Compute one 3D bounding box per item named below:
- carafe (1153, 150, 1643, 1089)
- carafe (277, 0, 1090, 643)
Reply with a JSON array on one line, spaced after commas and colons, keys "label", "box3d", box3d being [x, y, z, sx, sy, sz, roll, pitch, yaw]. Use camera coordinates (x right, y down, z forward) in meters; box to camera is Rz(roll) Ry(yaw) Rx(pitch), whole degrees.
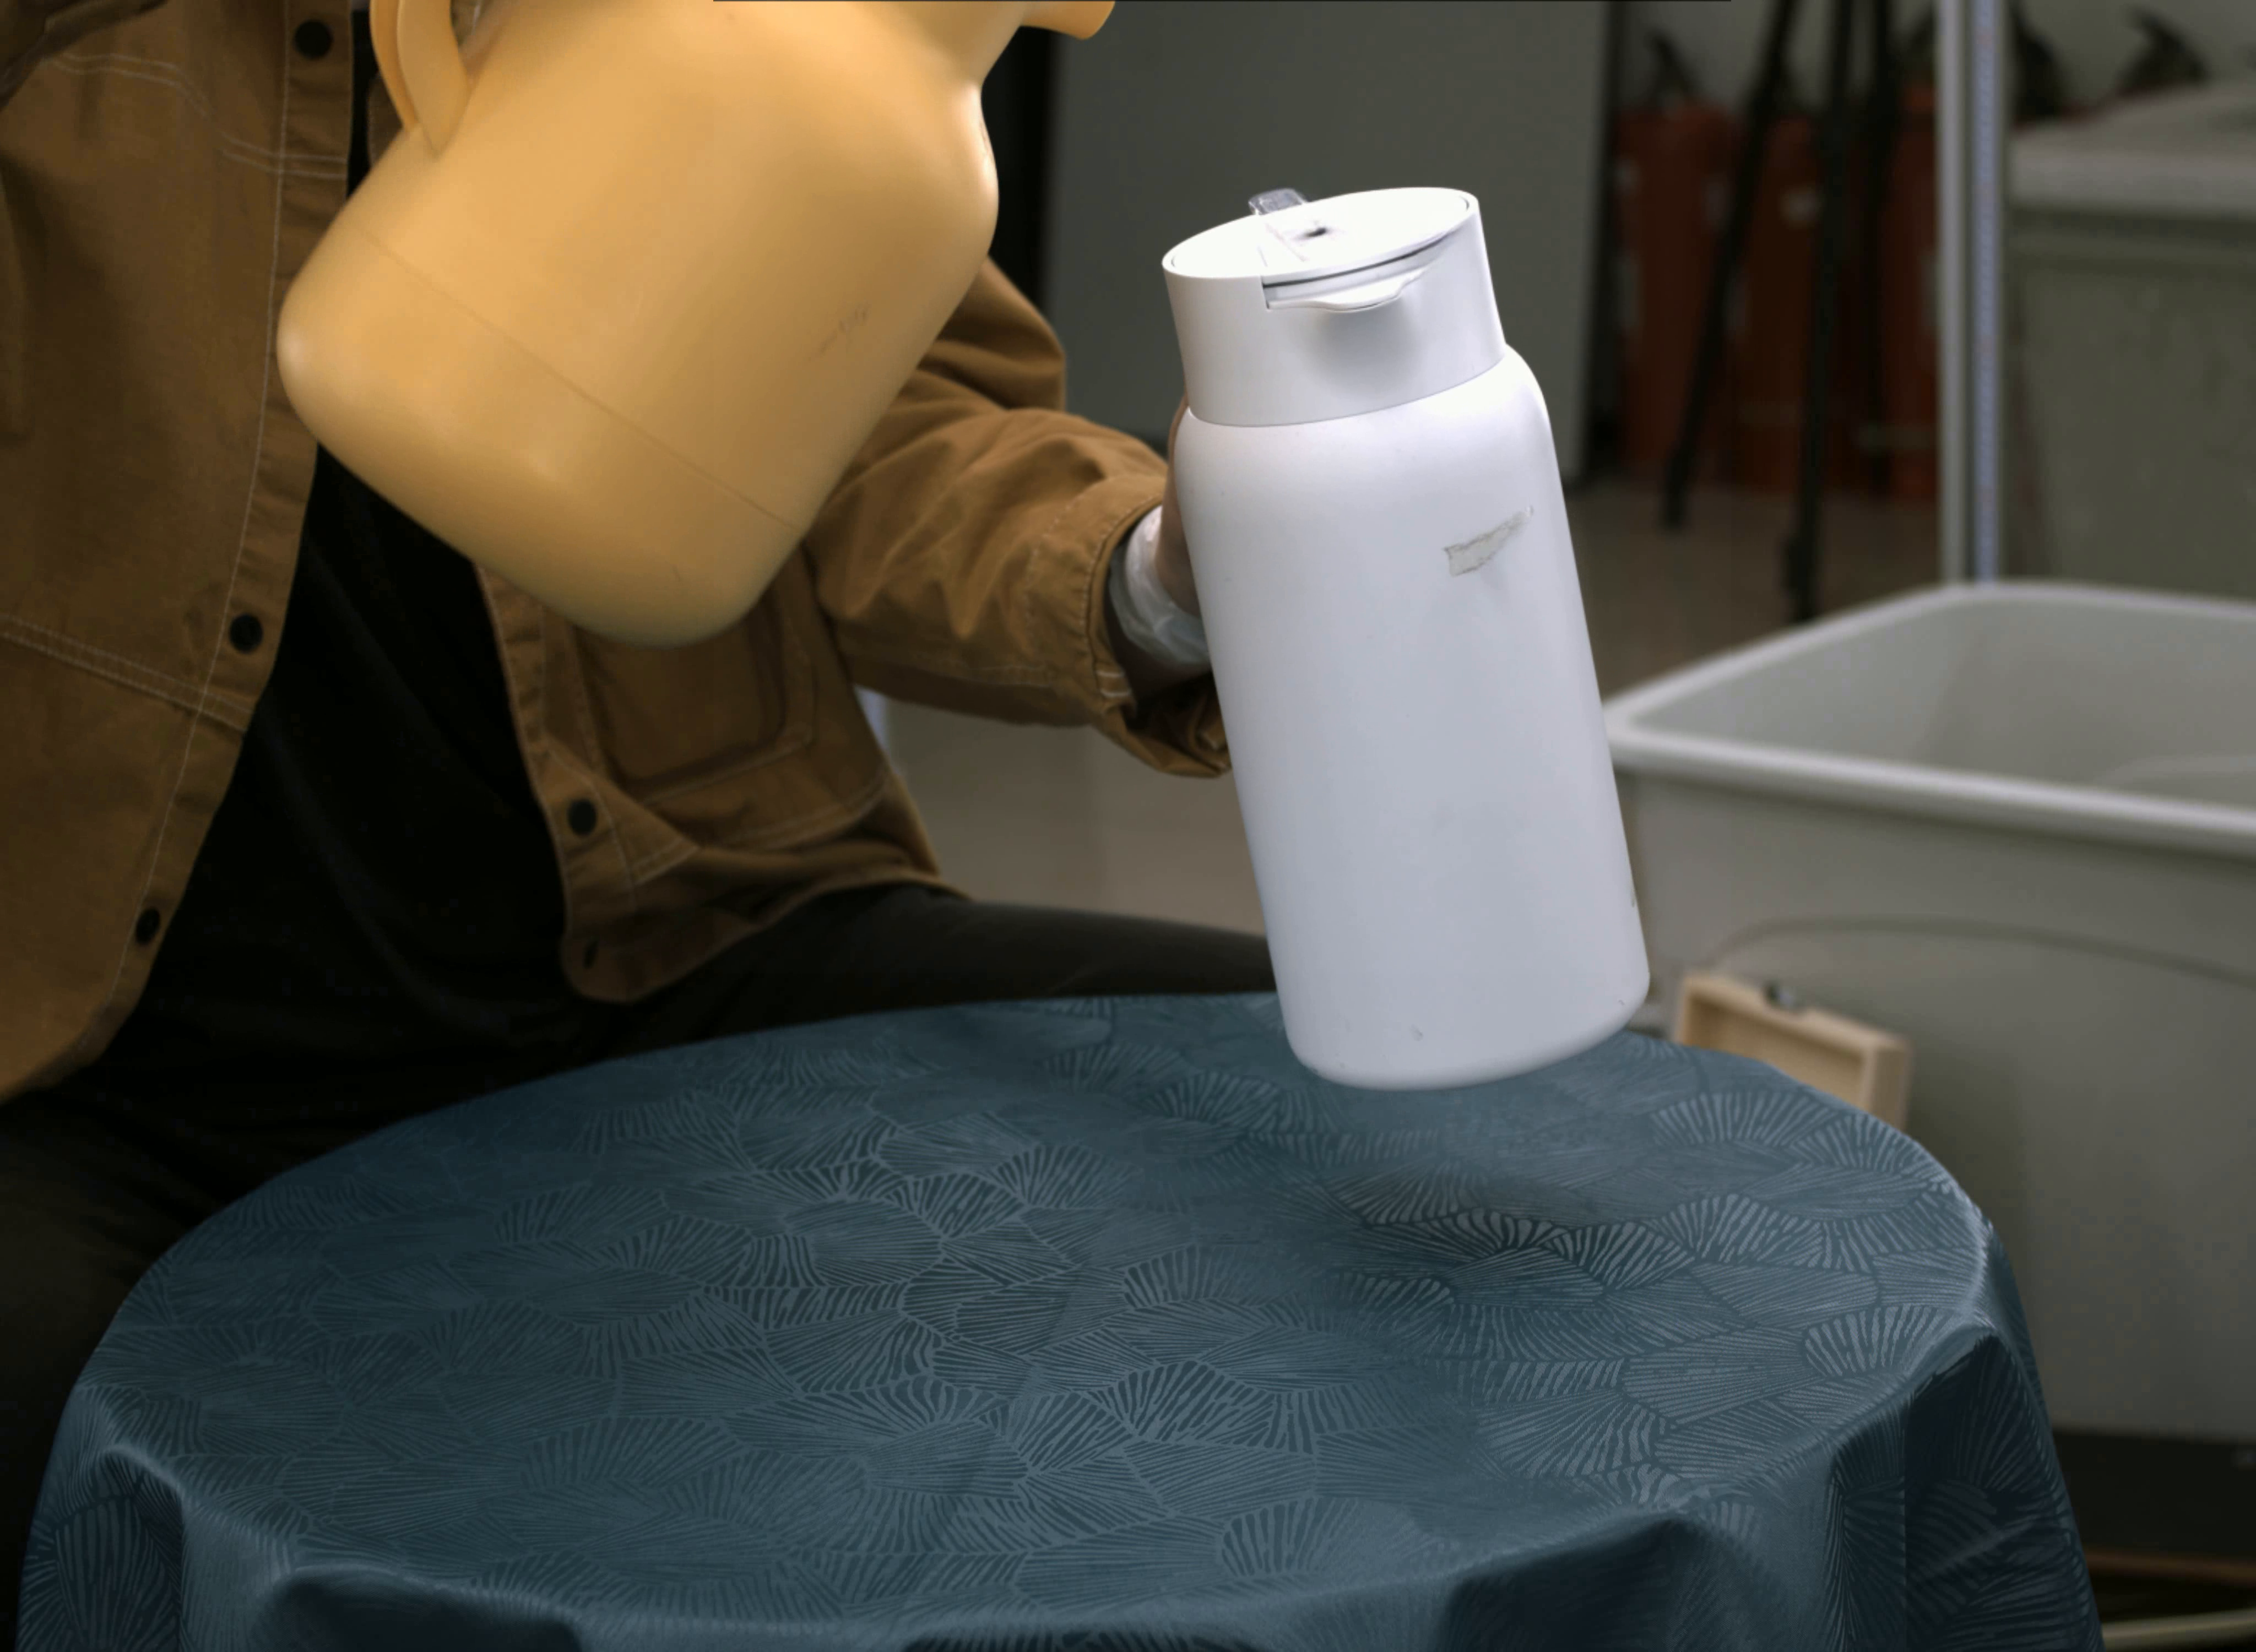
[{"label": "carafe", "box3d": [0.077, -0.066, 1.679, 0.122, 0.271, 0.174, -16, 16, -5]}, {"label": "carafe", "box3d": [-0.134, -0.203, 1.553, 0.199, 0.262, 0.165, 33, 0, -30]}]
